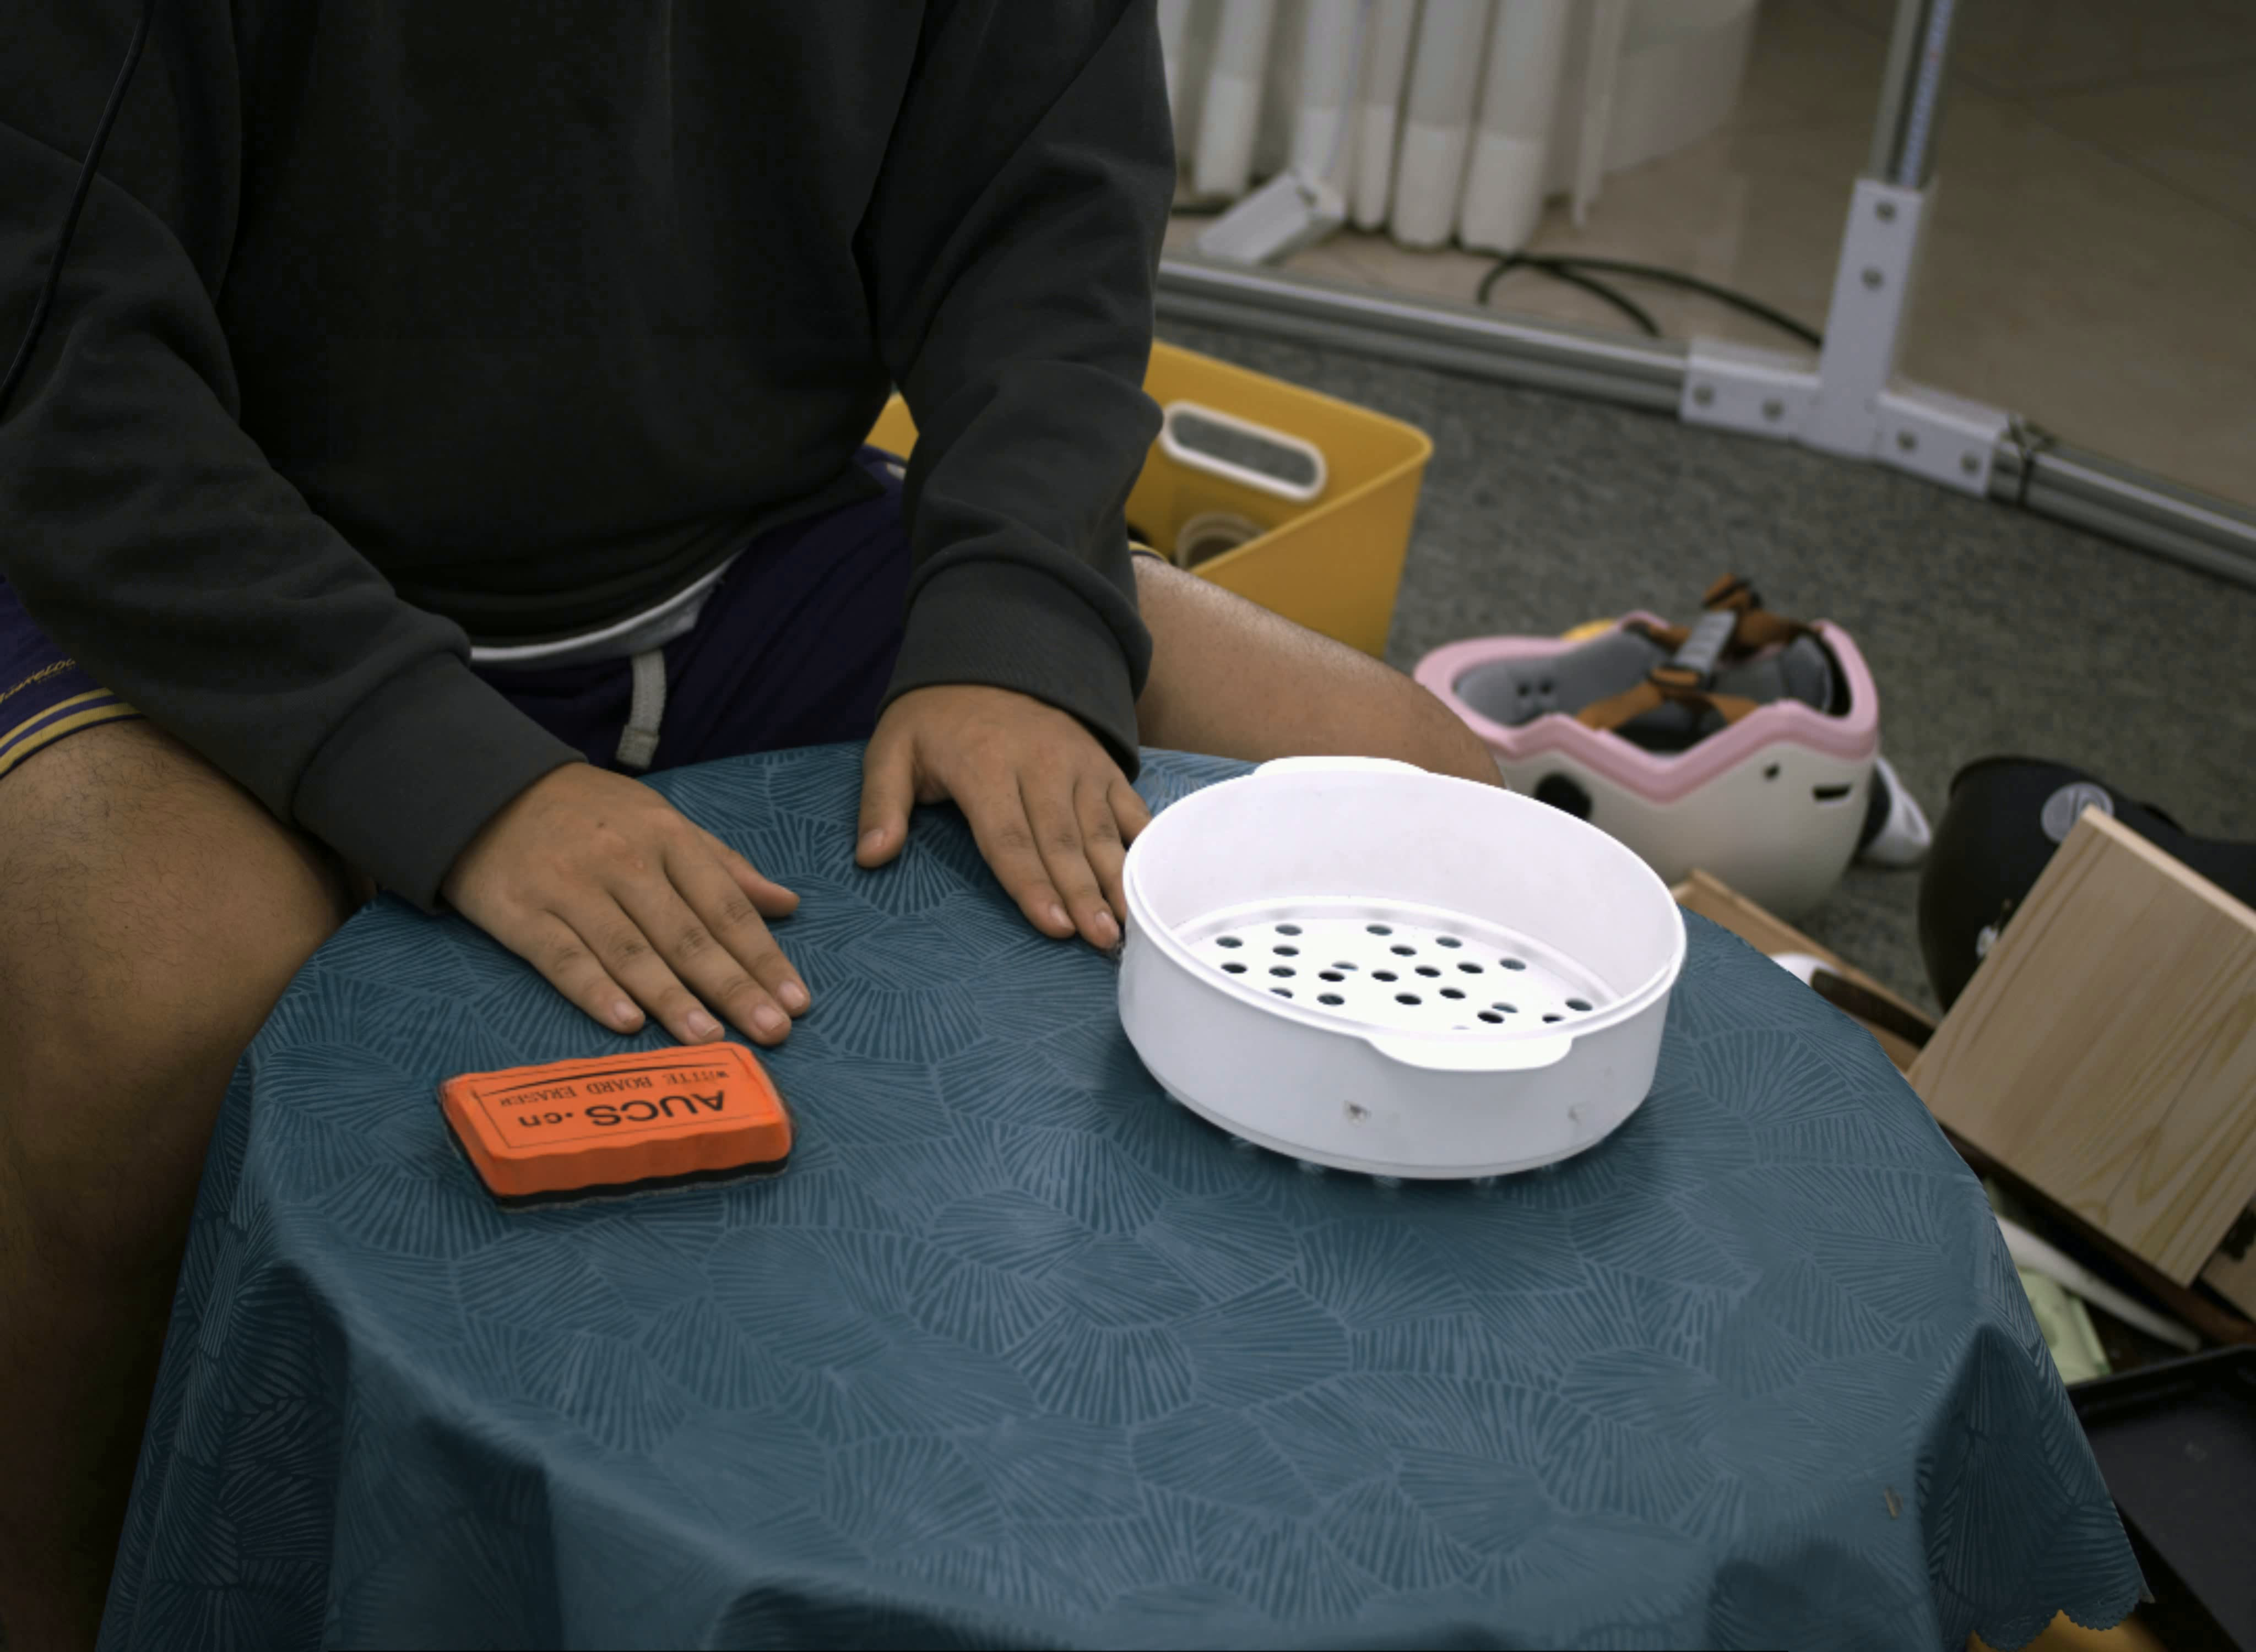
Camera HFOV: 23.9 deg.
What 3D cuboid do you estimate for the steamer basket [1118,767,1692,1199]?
[{"bbox_3d":[0.096,0.057,1.884,0.201,0.069,0.232,0,28,-12],"label":"steamer basket"}]

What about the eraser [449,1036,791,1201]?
[{"bbox_3d":[-0.170,0.098,1.781,0.107,0.023,0.059,-8,24,-24],"label":"eraser"}]
